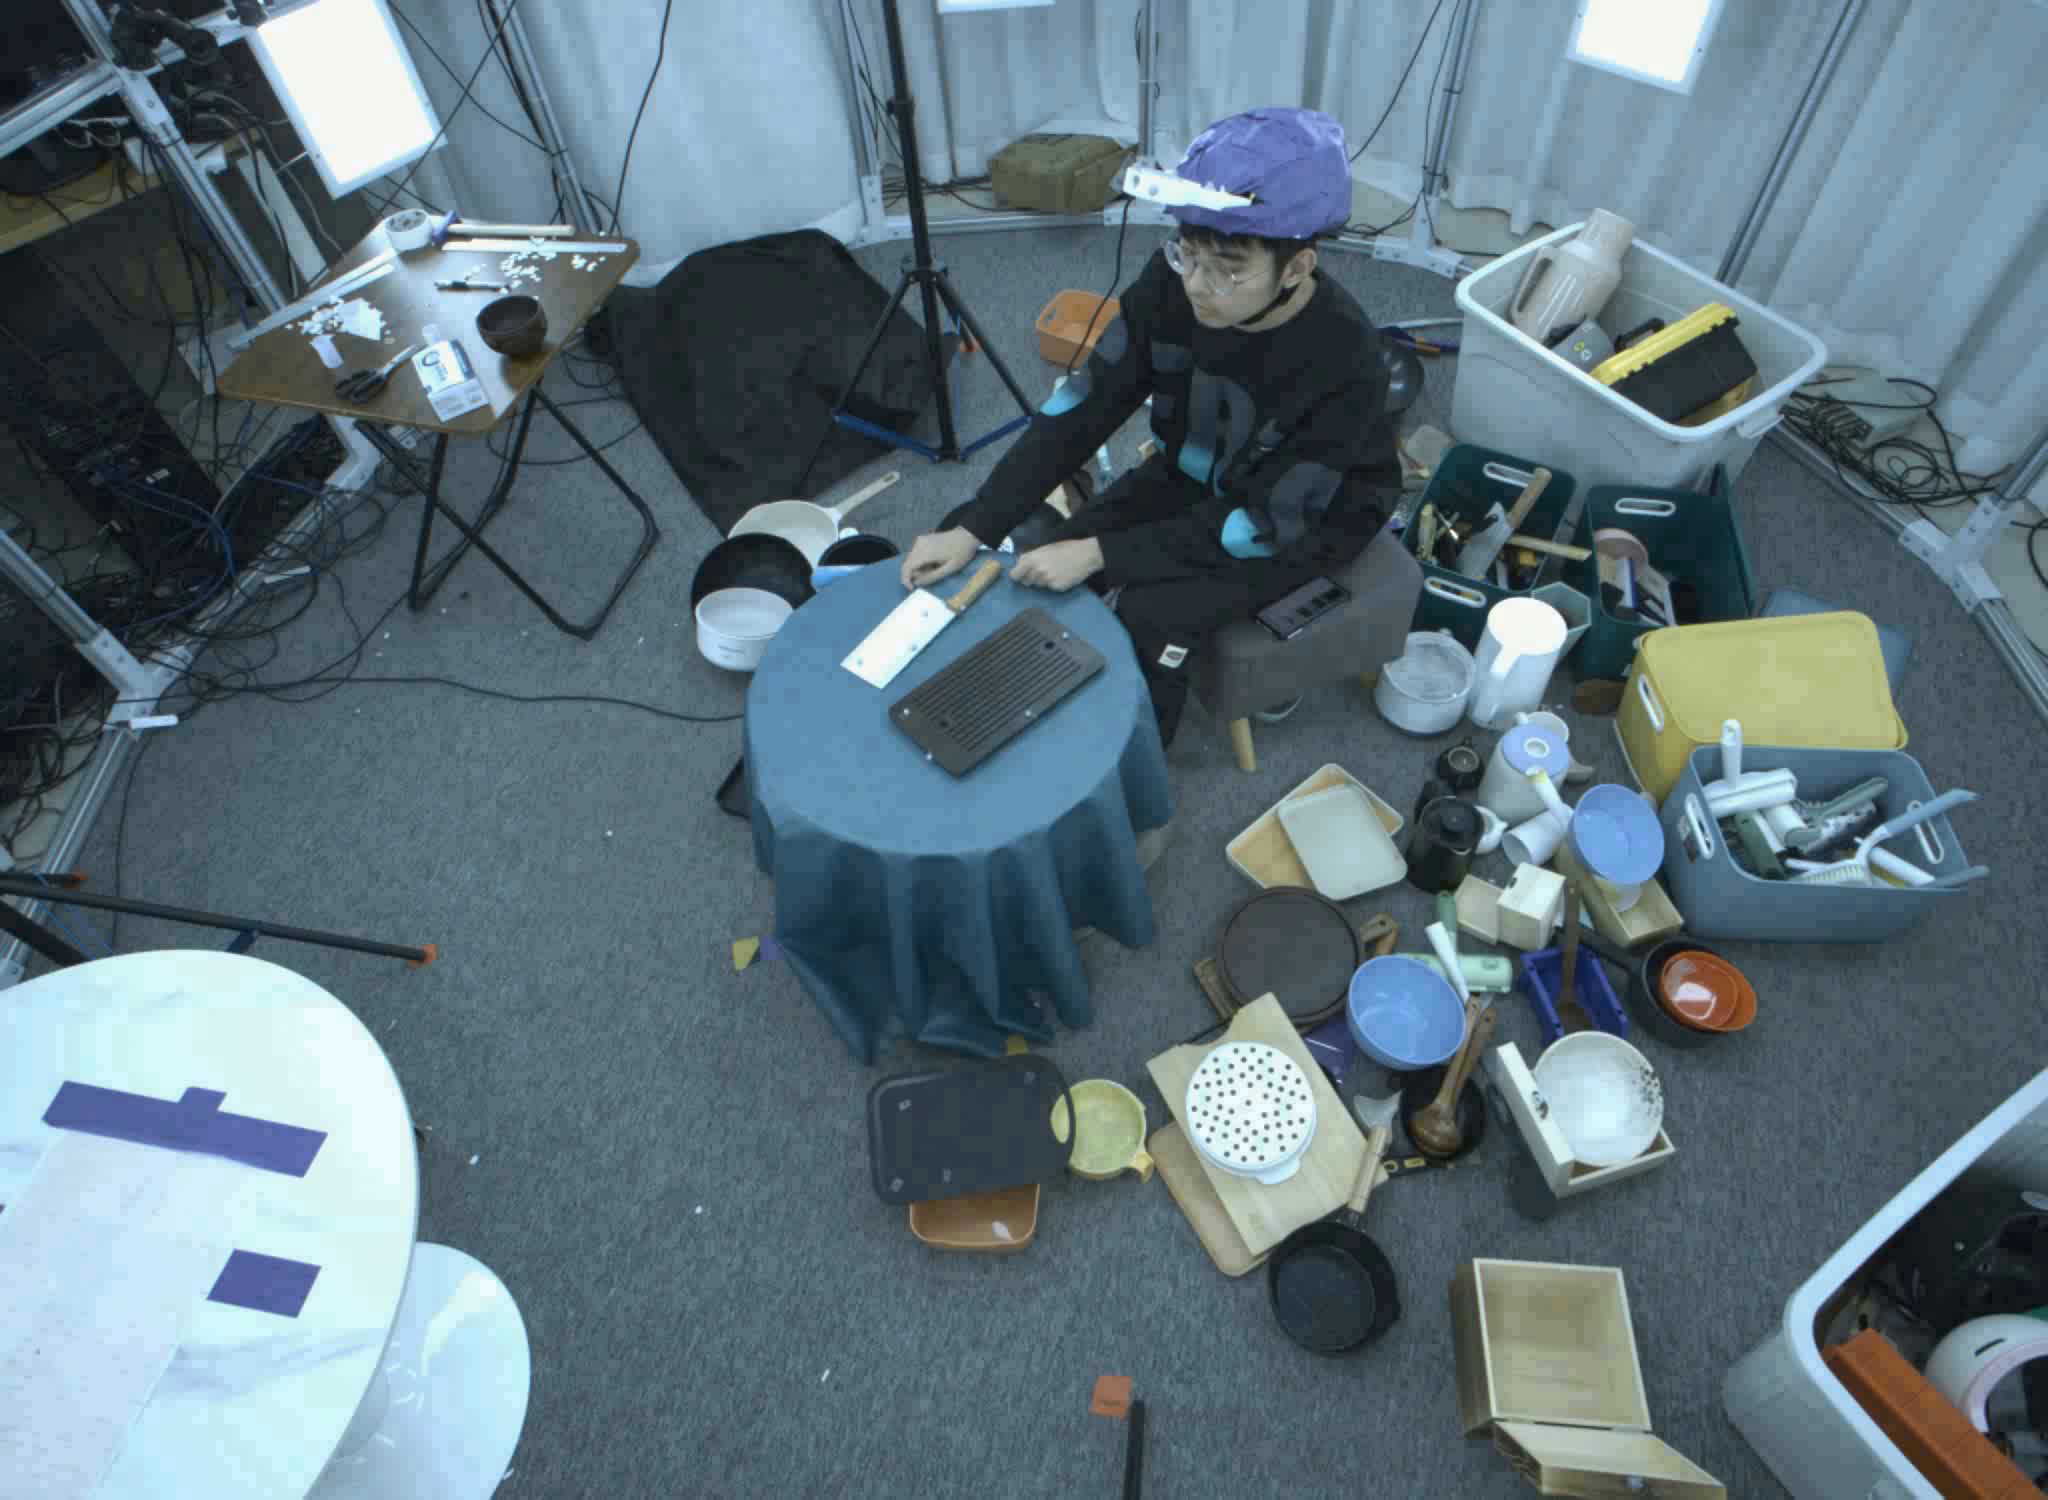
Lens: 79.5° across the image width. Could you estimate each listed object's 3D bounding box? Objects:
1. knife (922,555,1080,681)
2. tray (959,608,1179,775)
[{"bbox_3d":[-0.040,-0.221,1.936,0.091,0.021,0.307,35,65,25],"label":"knife"},{"bbox_3d":[0.069,-0.091,1.837,0.308,0.019,0.167,-34,60,-20],"label":"tray"}]
